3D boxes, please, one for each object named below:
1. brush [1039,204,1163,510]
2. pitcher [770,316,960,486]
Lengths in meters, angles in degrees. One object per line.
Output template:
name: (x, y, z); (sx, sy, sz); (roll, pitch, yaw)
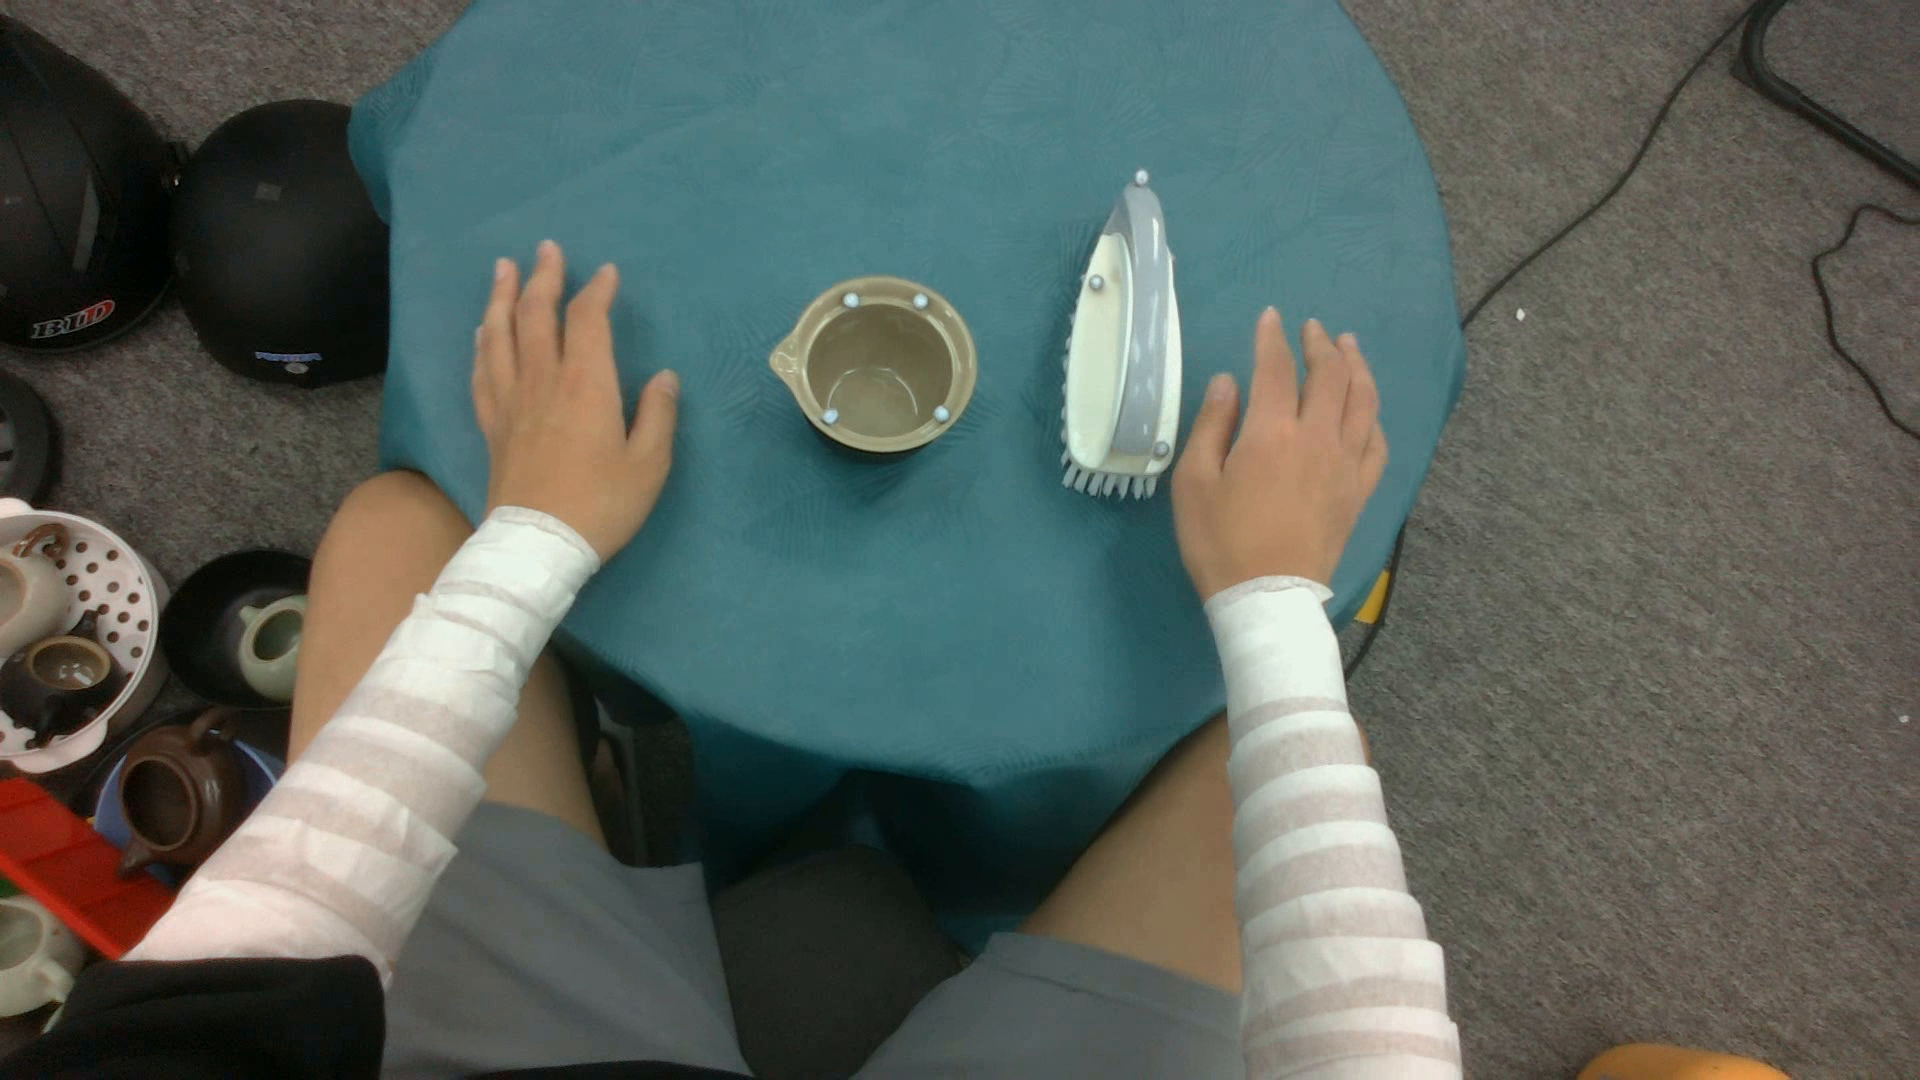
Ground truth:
brush: (0.081, -0.112, 0.741); (0.061, 0.094, 0.176); (7, 70, -10)
pitcher: (-0.049, -0.067, 0.720); (0.096, 0.071, 0.084); (-4, 75, -5)
